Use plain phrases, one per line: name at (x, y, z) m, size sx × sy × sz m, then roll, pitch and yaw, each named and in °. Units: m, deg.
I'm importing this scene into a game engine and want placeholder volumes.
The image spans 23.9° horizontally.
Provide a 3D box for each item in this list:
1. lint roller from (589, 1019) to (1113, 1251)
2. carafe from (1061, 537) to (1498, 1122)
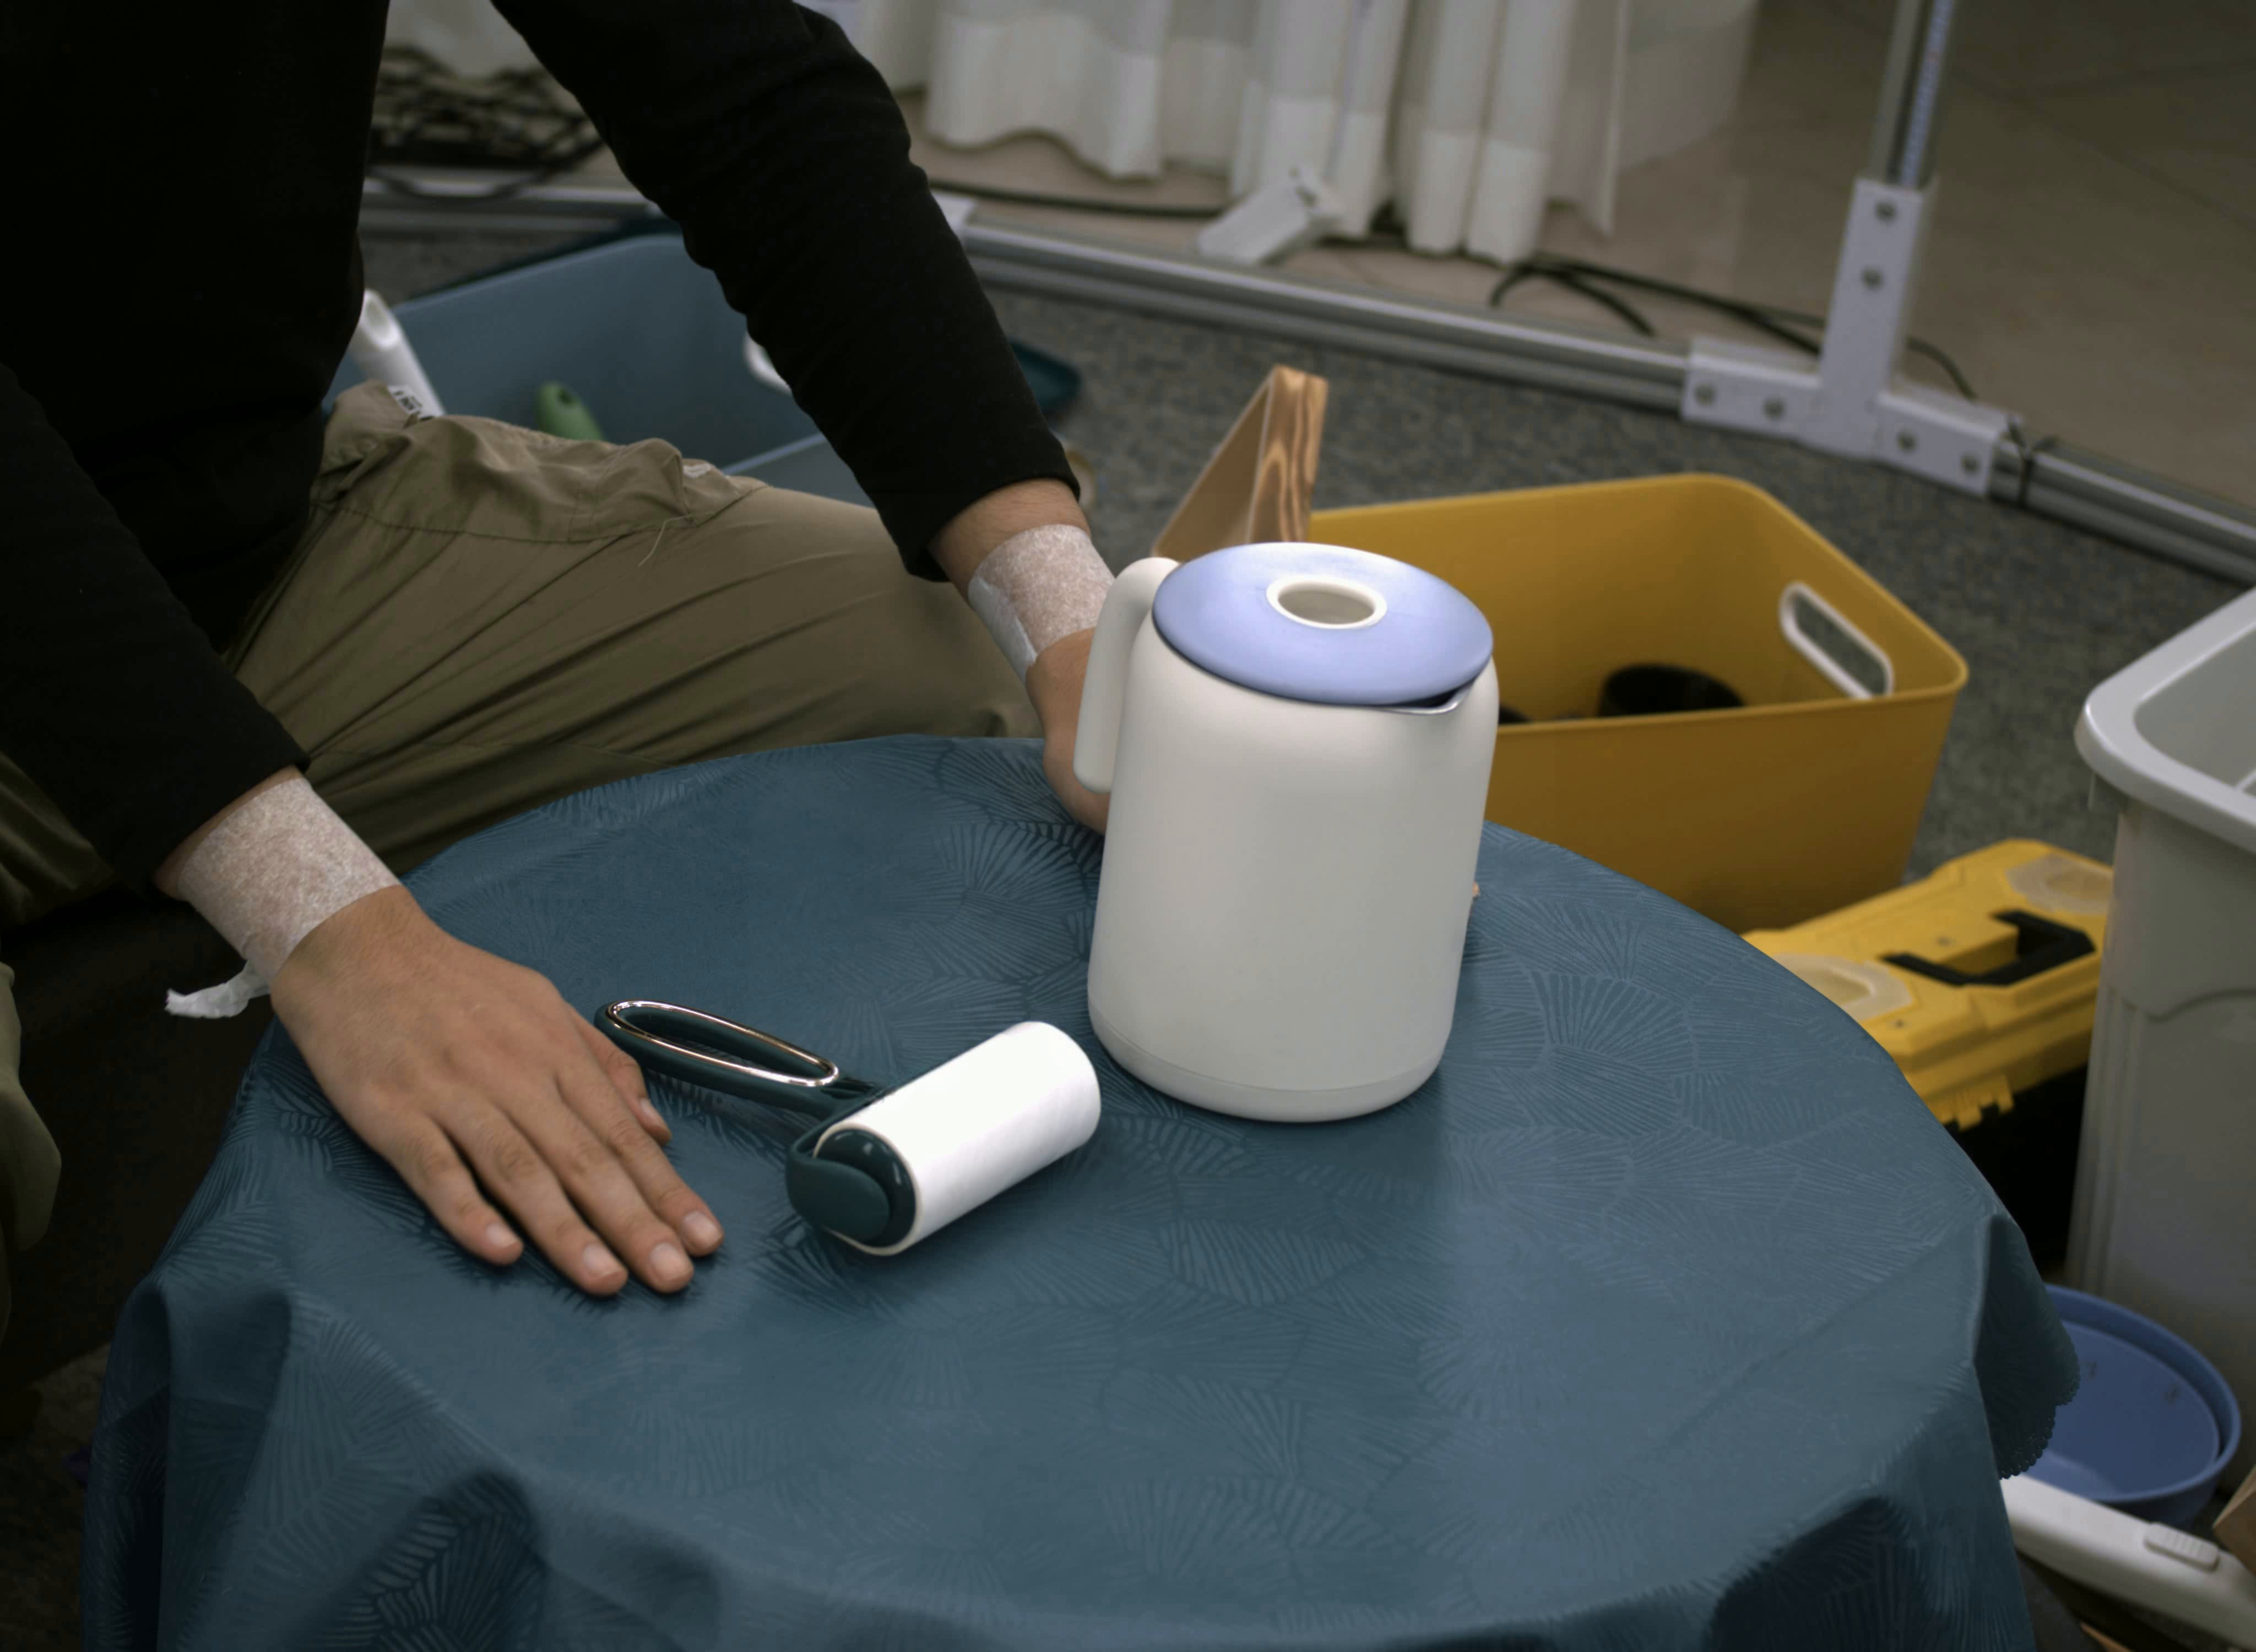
lint roller at (-0.112, 0.083, 1.811) m, size 0.181 × 0.048 × 0.134 m, roll 20°, pitch 30°, yaw 31°
carafe at (0.043, -0.009, 1.883) m, size 0.131 × 0.182 × 0.193 m, roll -14°, pitch 31°, yaw -36°
